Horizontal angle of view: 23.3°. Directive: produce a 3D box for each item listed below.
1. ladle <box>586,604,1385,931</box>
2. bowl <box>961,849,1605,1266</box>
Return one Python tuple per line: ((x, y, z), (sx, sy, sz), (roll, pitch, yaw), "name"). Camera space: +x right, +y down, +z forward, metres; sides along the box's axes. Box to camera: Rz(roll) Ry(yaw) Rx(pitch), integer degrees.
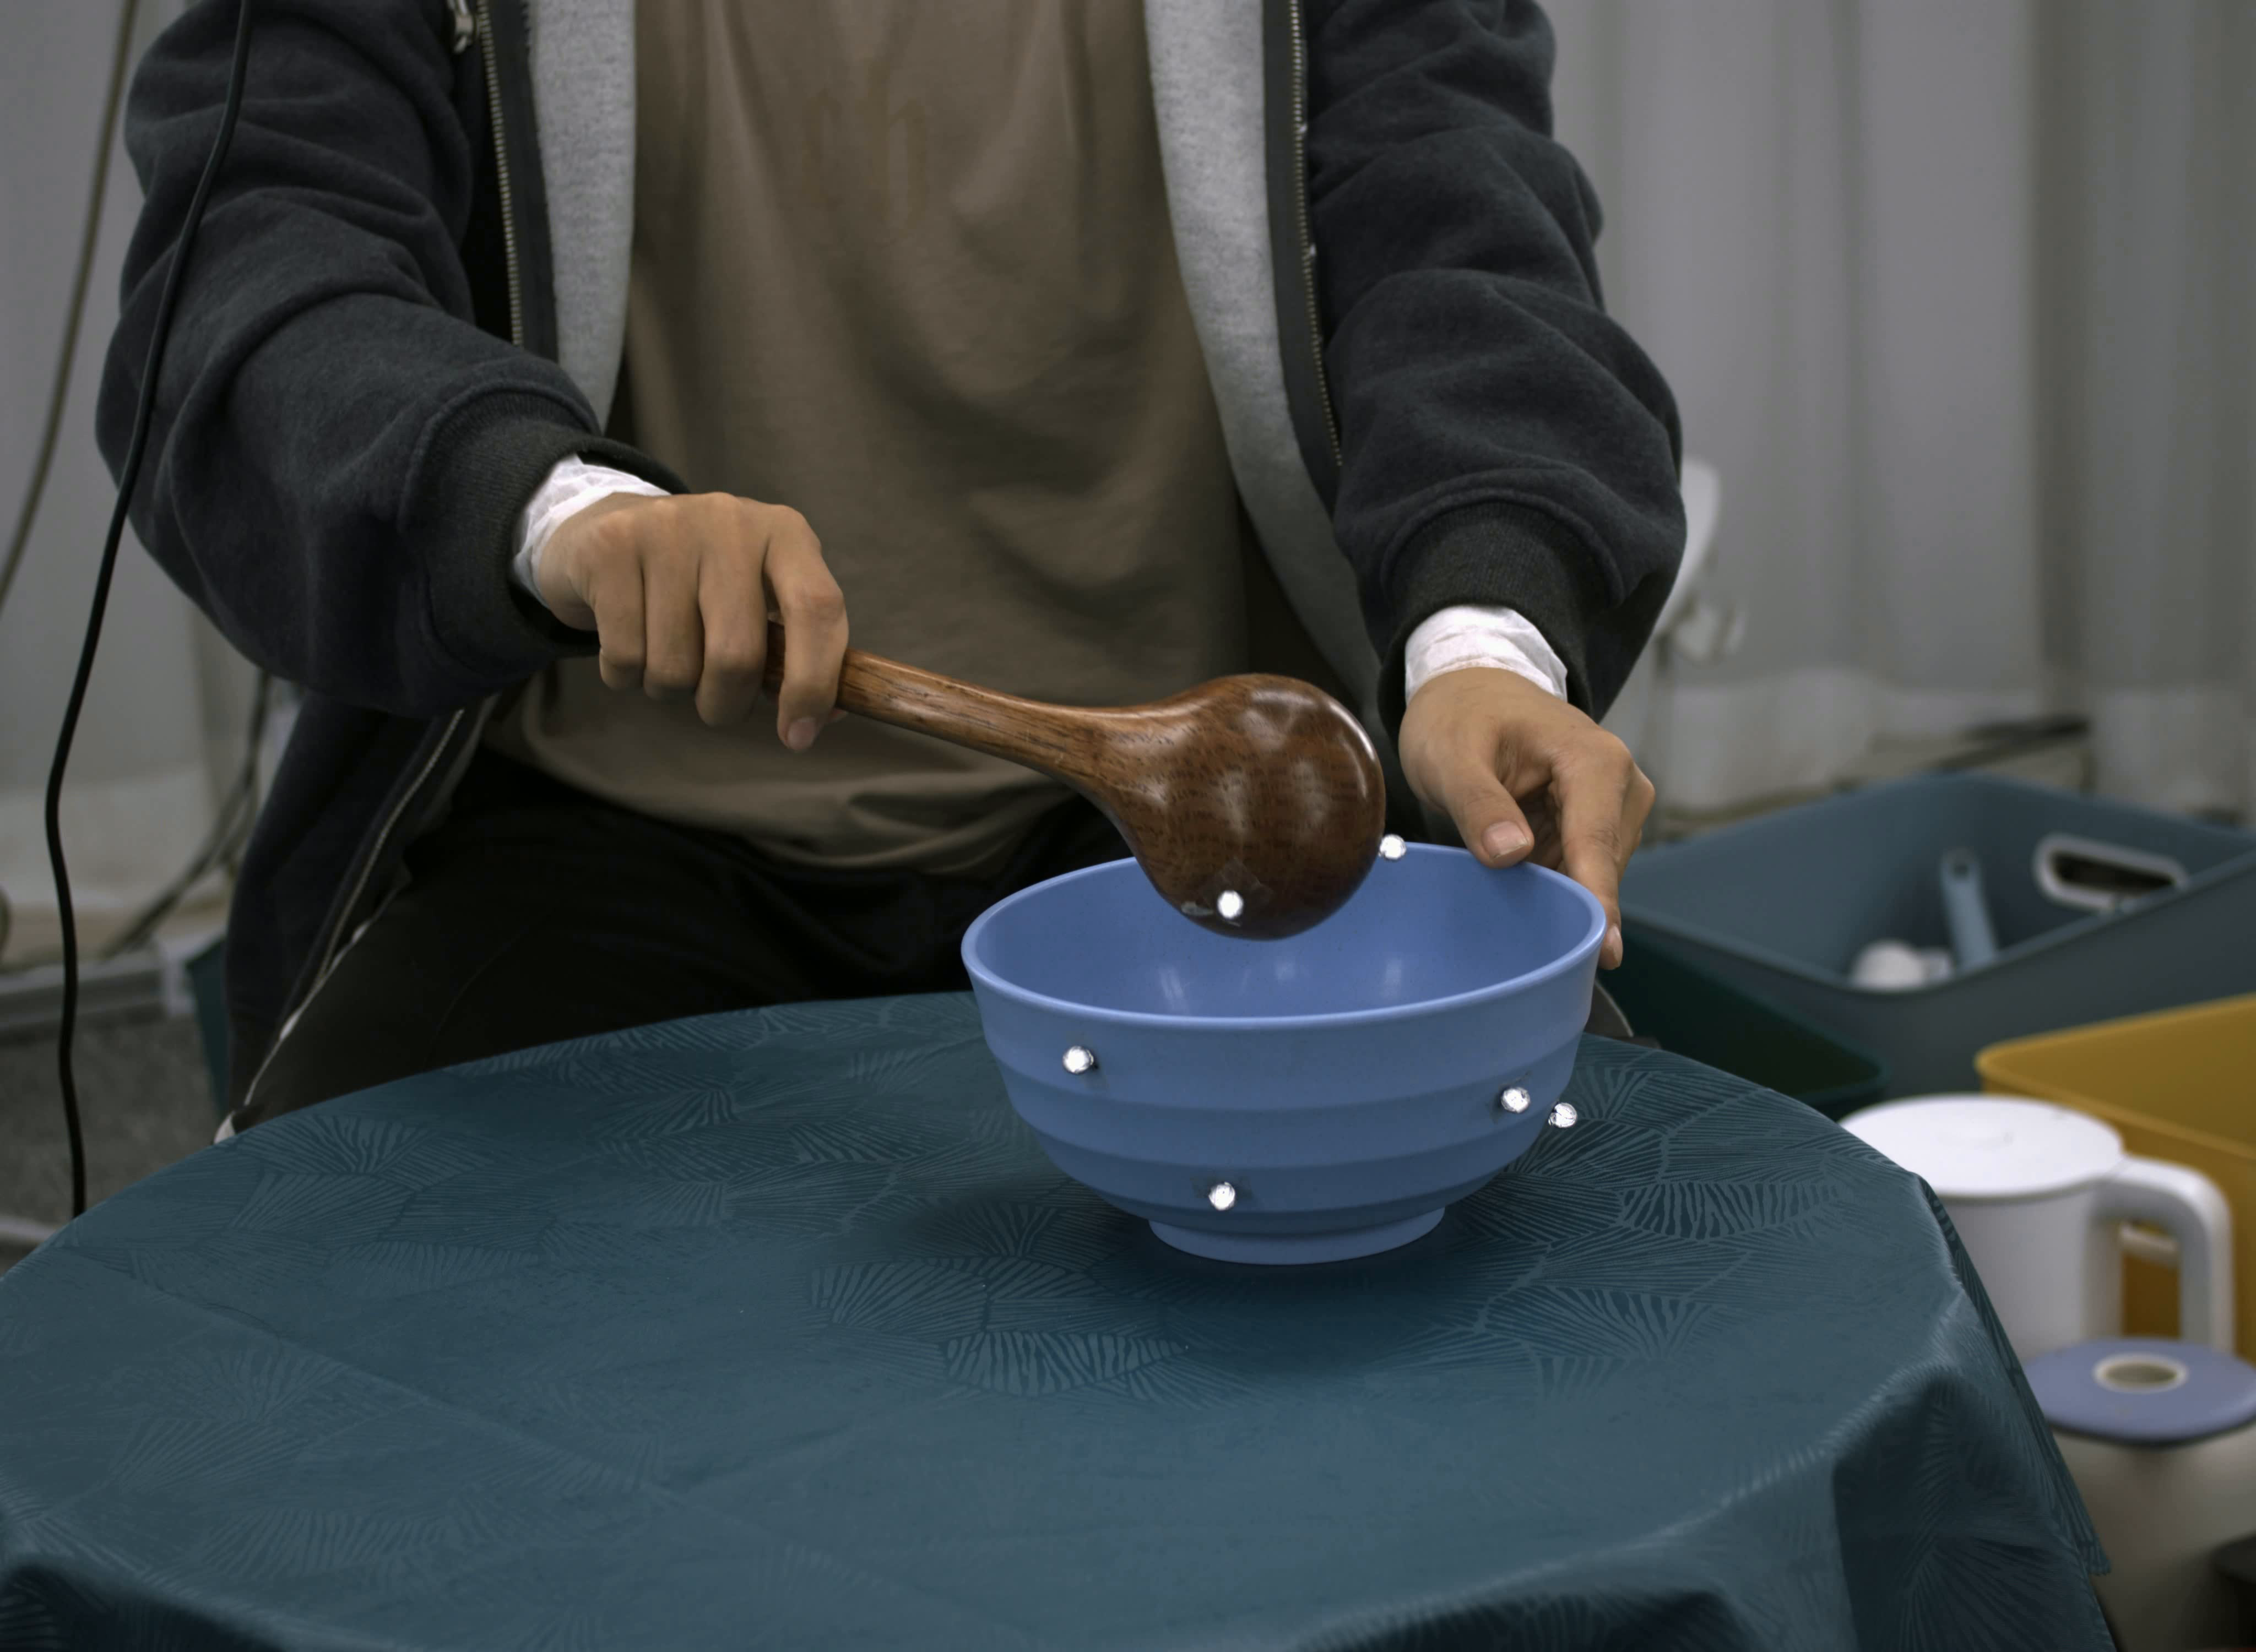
((-0.045, -0.031, 1.709), (0.275, 0.082, 0.076), (13, -9, 36), "ladle")
((0.049, 0.076, 1.672), (0.196, 0.095, 0.198), (-3, 13, 1), "bowl")
